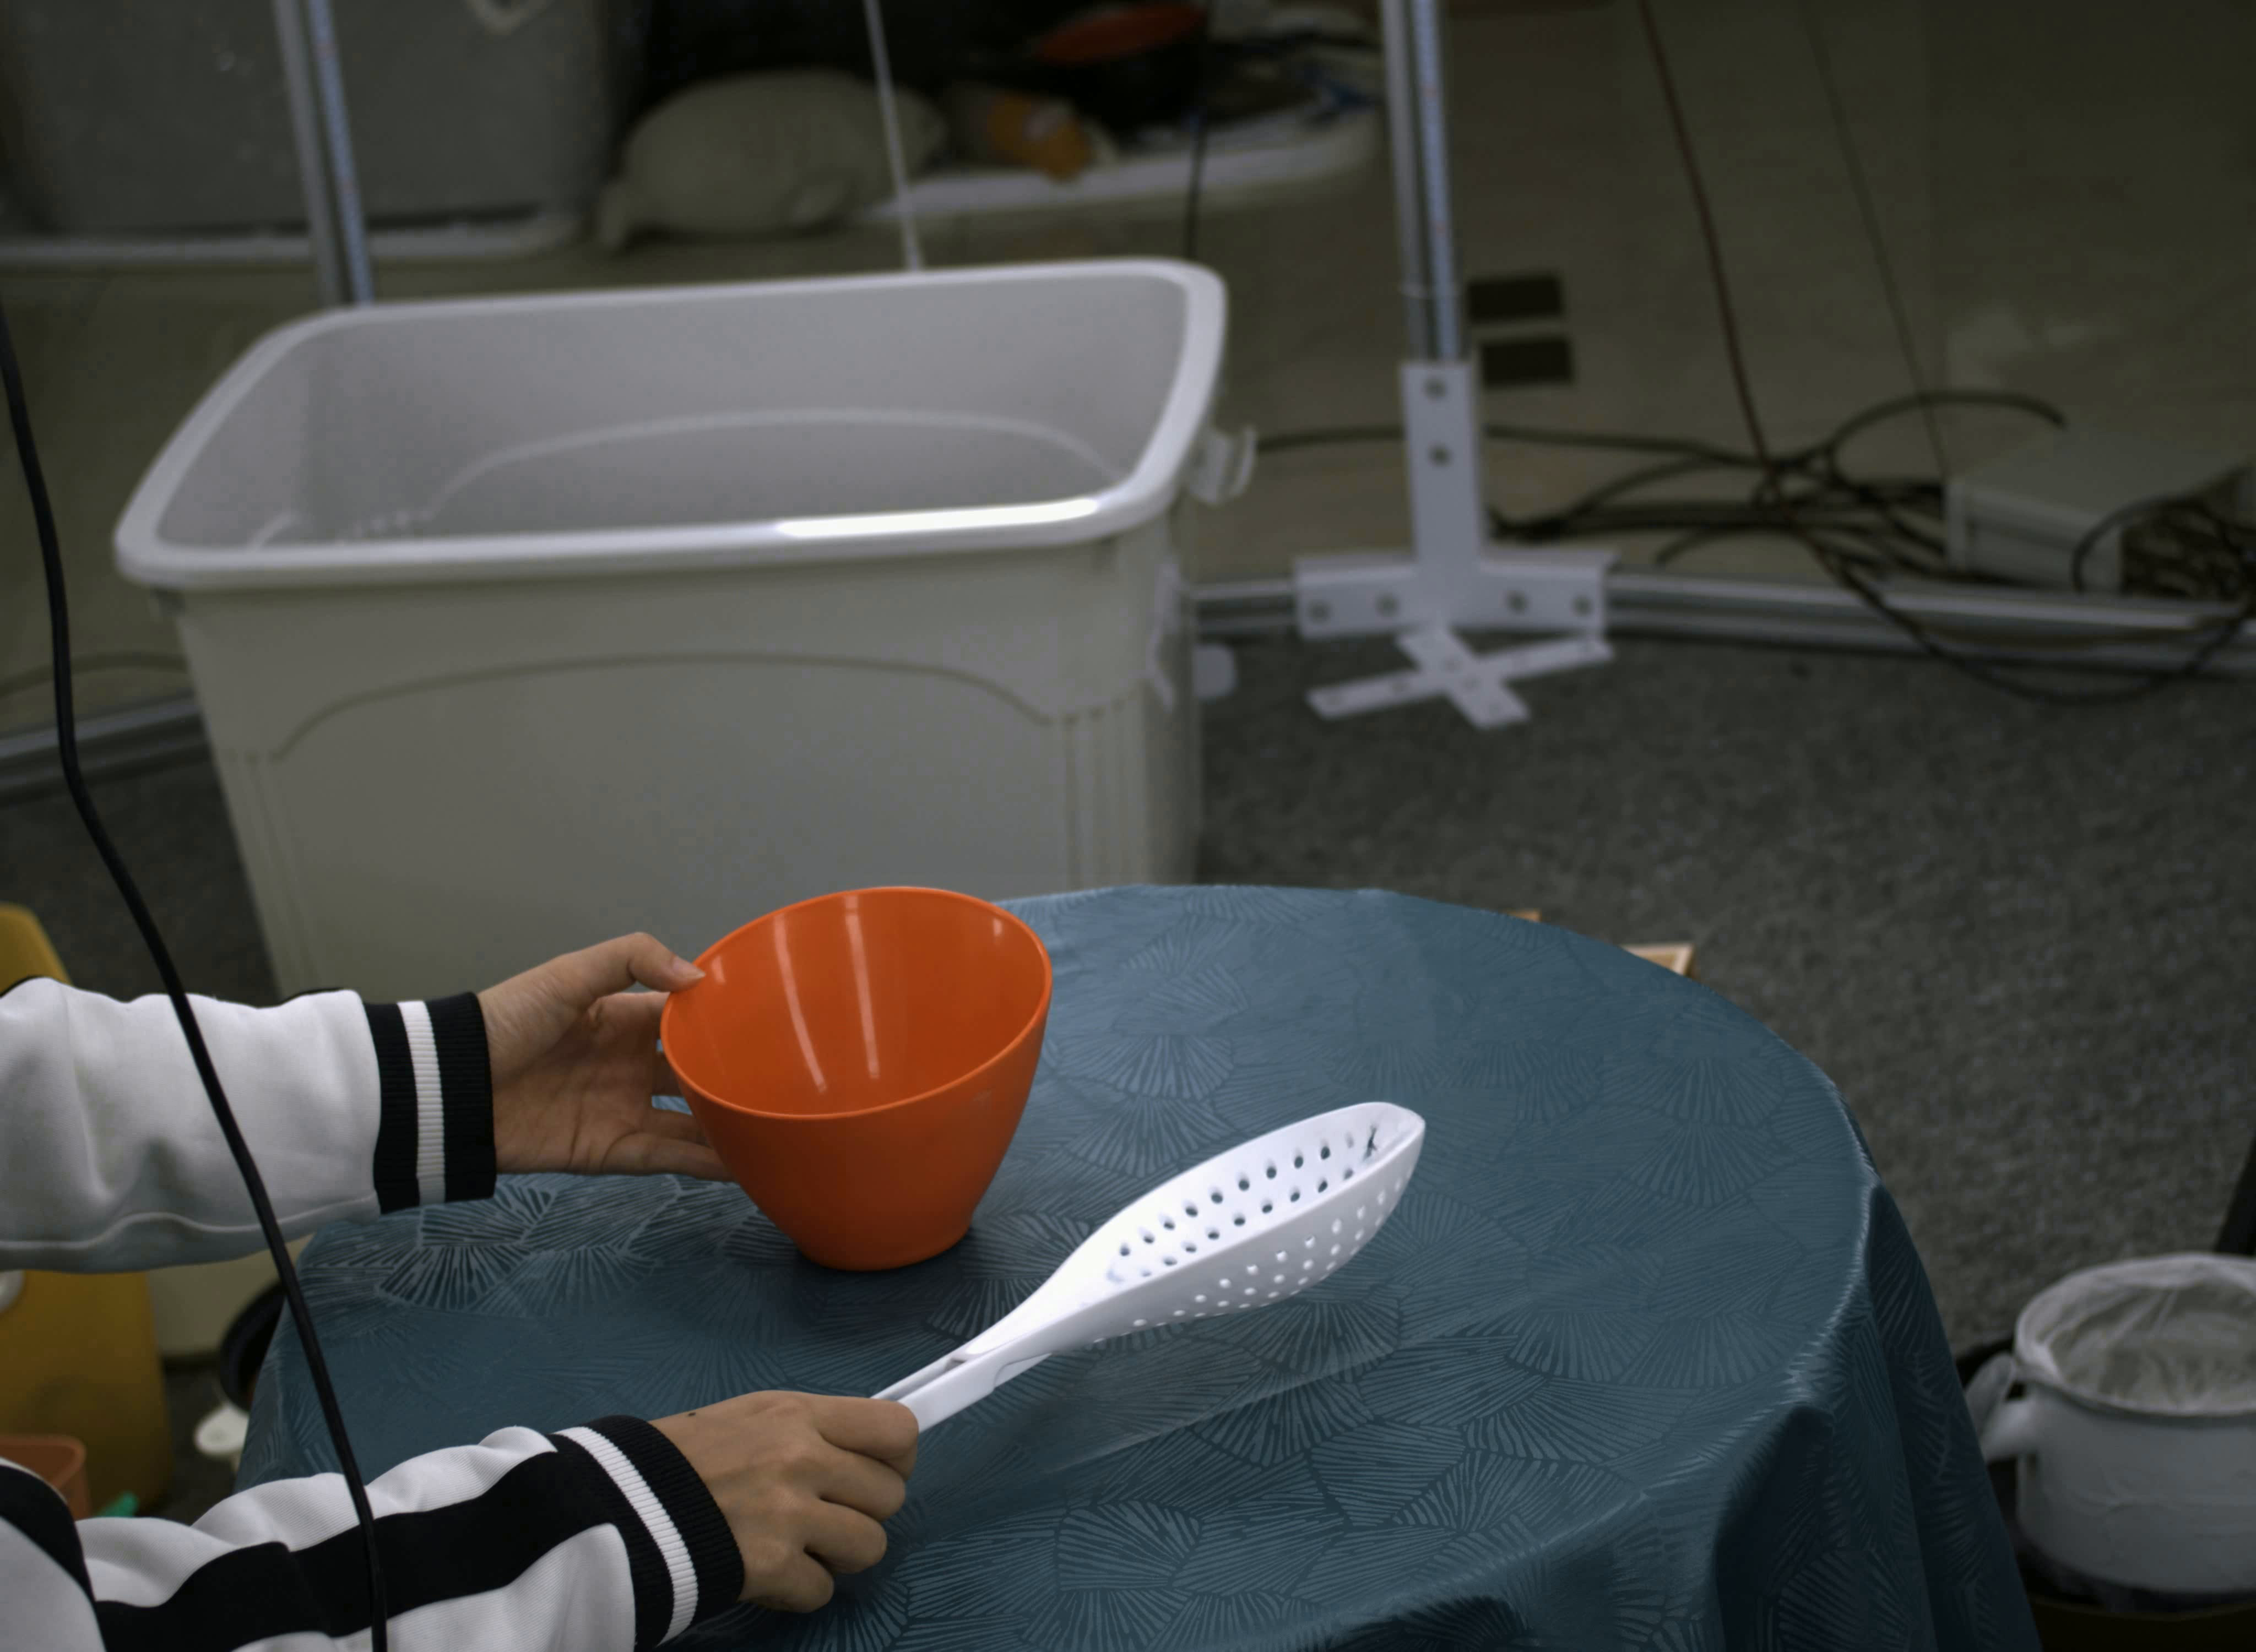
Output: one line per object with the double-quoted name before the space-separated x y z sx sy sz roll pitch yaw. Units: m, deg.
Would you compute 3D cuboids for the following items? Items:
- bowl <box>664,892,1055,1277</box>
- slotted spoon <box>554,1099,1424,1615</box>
"bowl" -0.097 0.103 2.127 0.148 0.106 0.146 -4 25 2
"slotted spoon" -0.044 0.181 1.954 0.348 0.046 0.136 -23 5 -22
